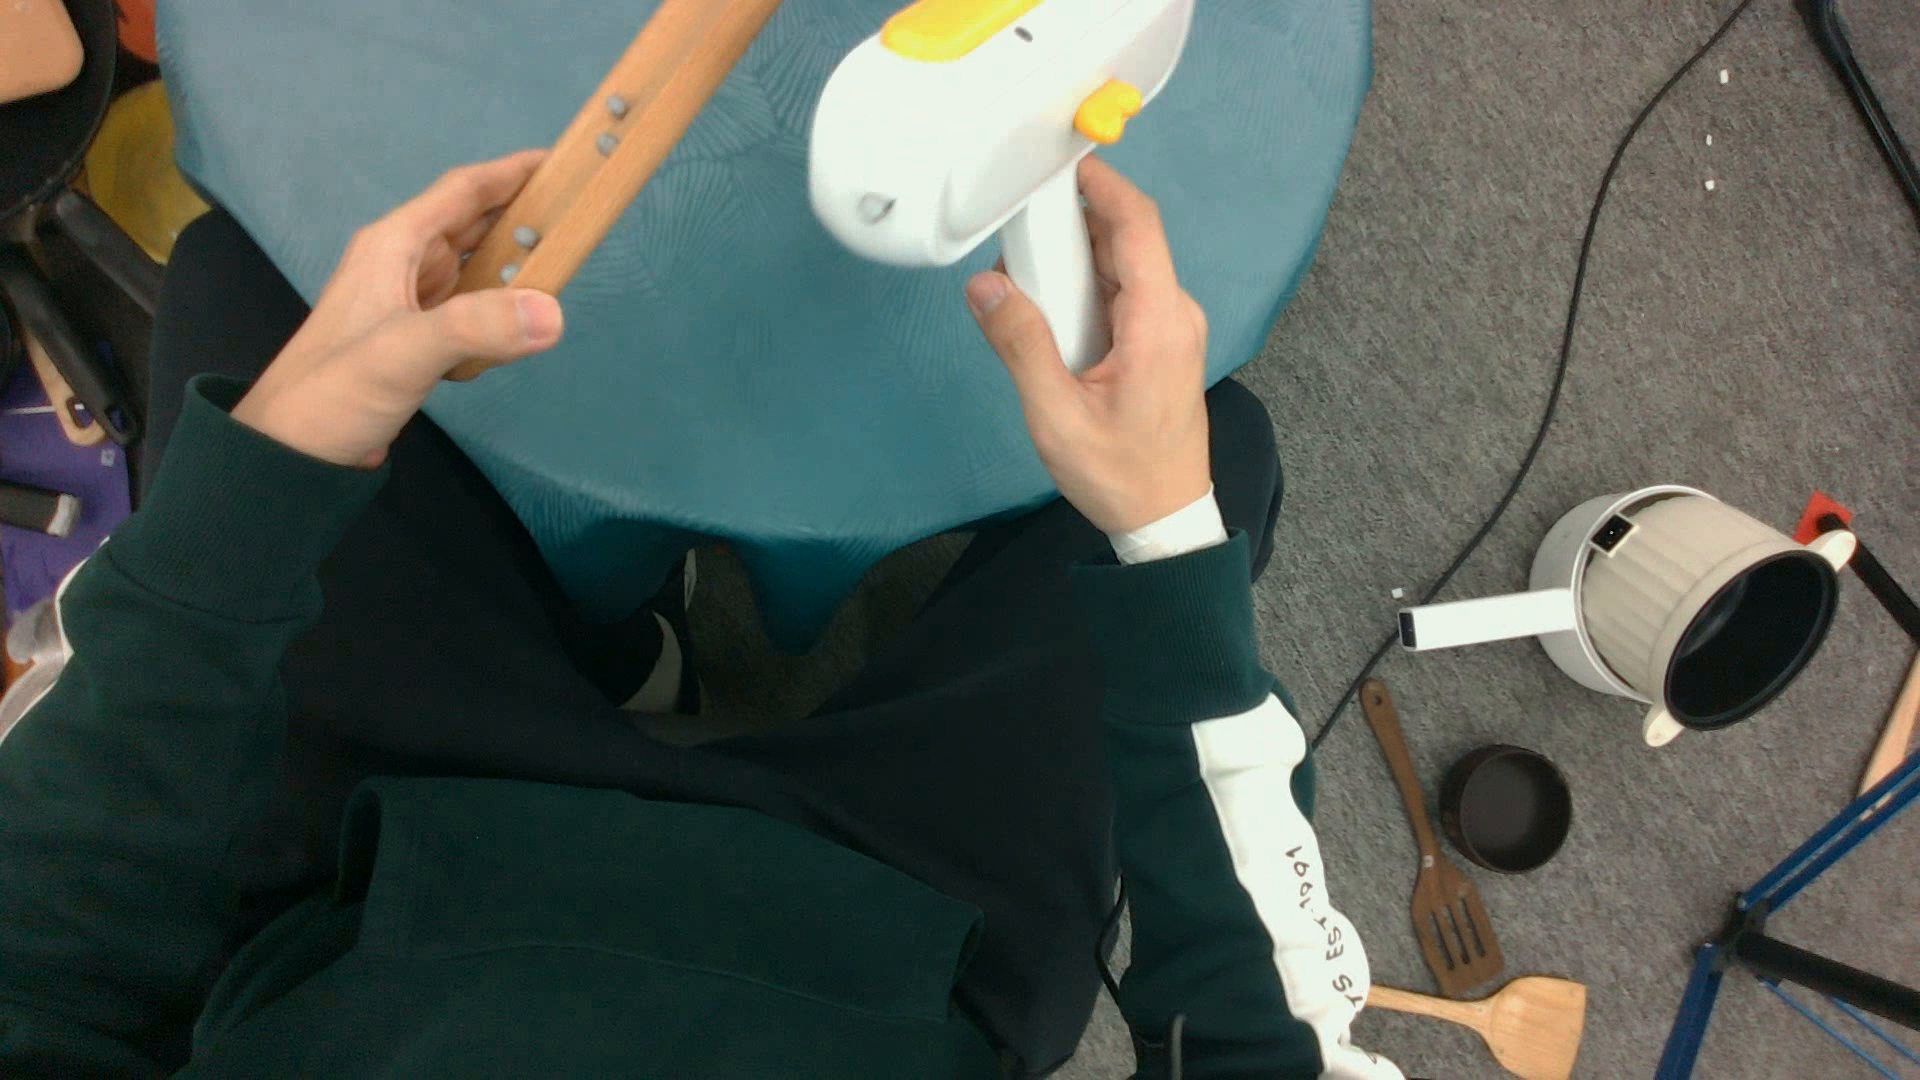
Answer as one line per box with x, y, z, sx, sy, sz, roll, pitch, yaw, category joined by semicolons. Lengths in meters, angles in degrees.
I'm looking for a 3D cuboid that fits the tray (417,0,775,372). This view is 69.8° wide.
-0.121;-0.156;0.502;0.020;0.101;0.231;40;85;-33;tray

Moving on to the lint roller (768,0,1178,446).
0.023;-0.115;0.505;0.074;0.191;0.194;22;56;24;lint roller
